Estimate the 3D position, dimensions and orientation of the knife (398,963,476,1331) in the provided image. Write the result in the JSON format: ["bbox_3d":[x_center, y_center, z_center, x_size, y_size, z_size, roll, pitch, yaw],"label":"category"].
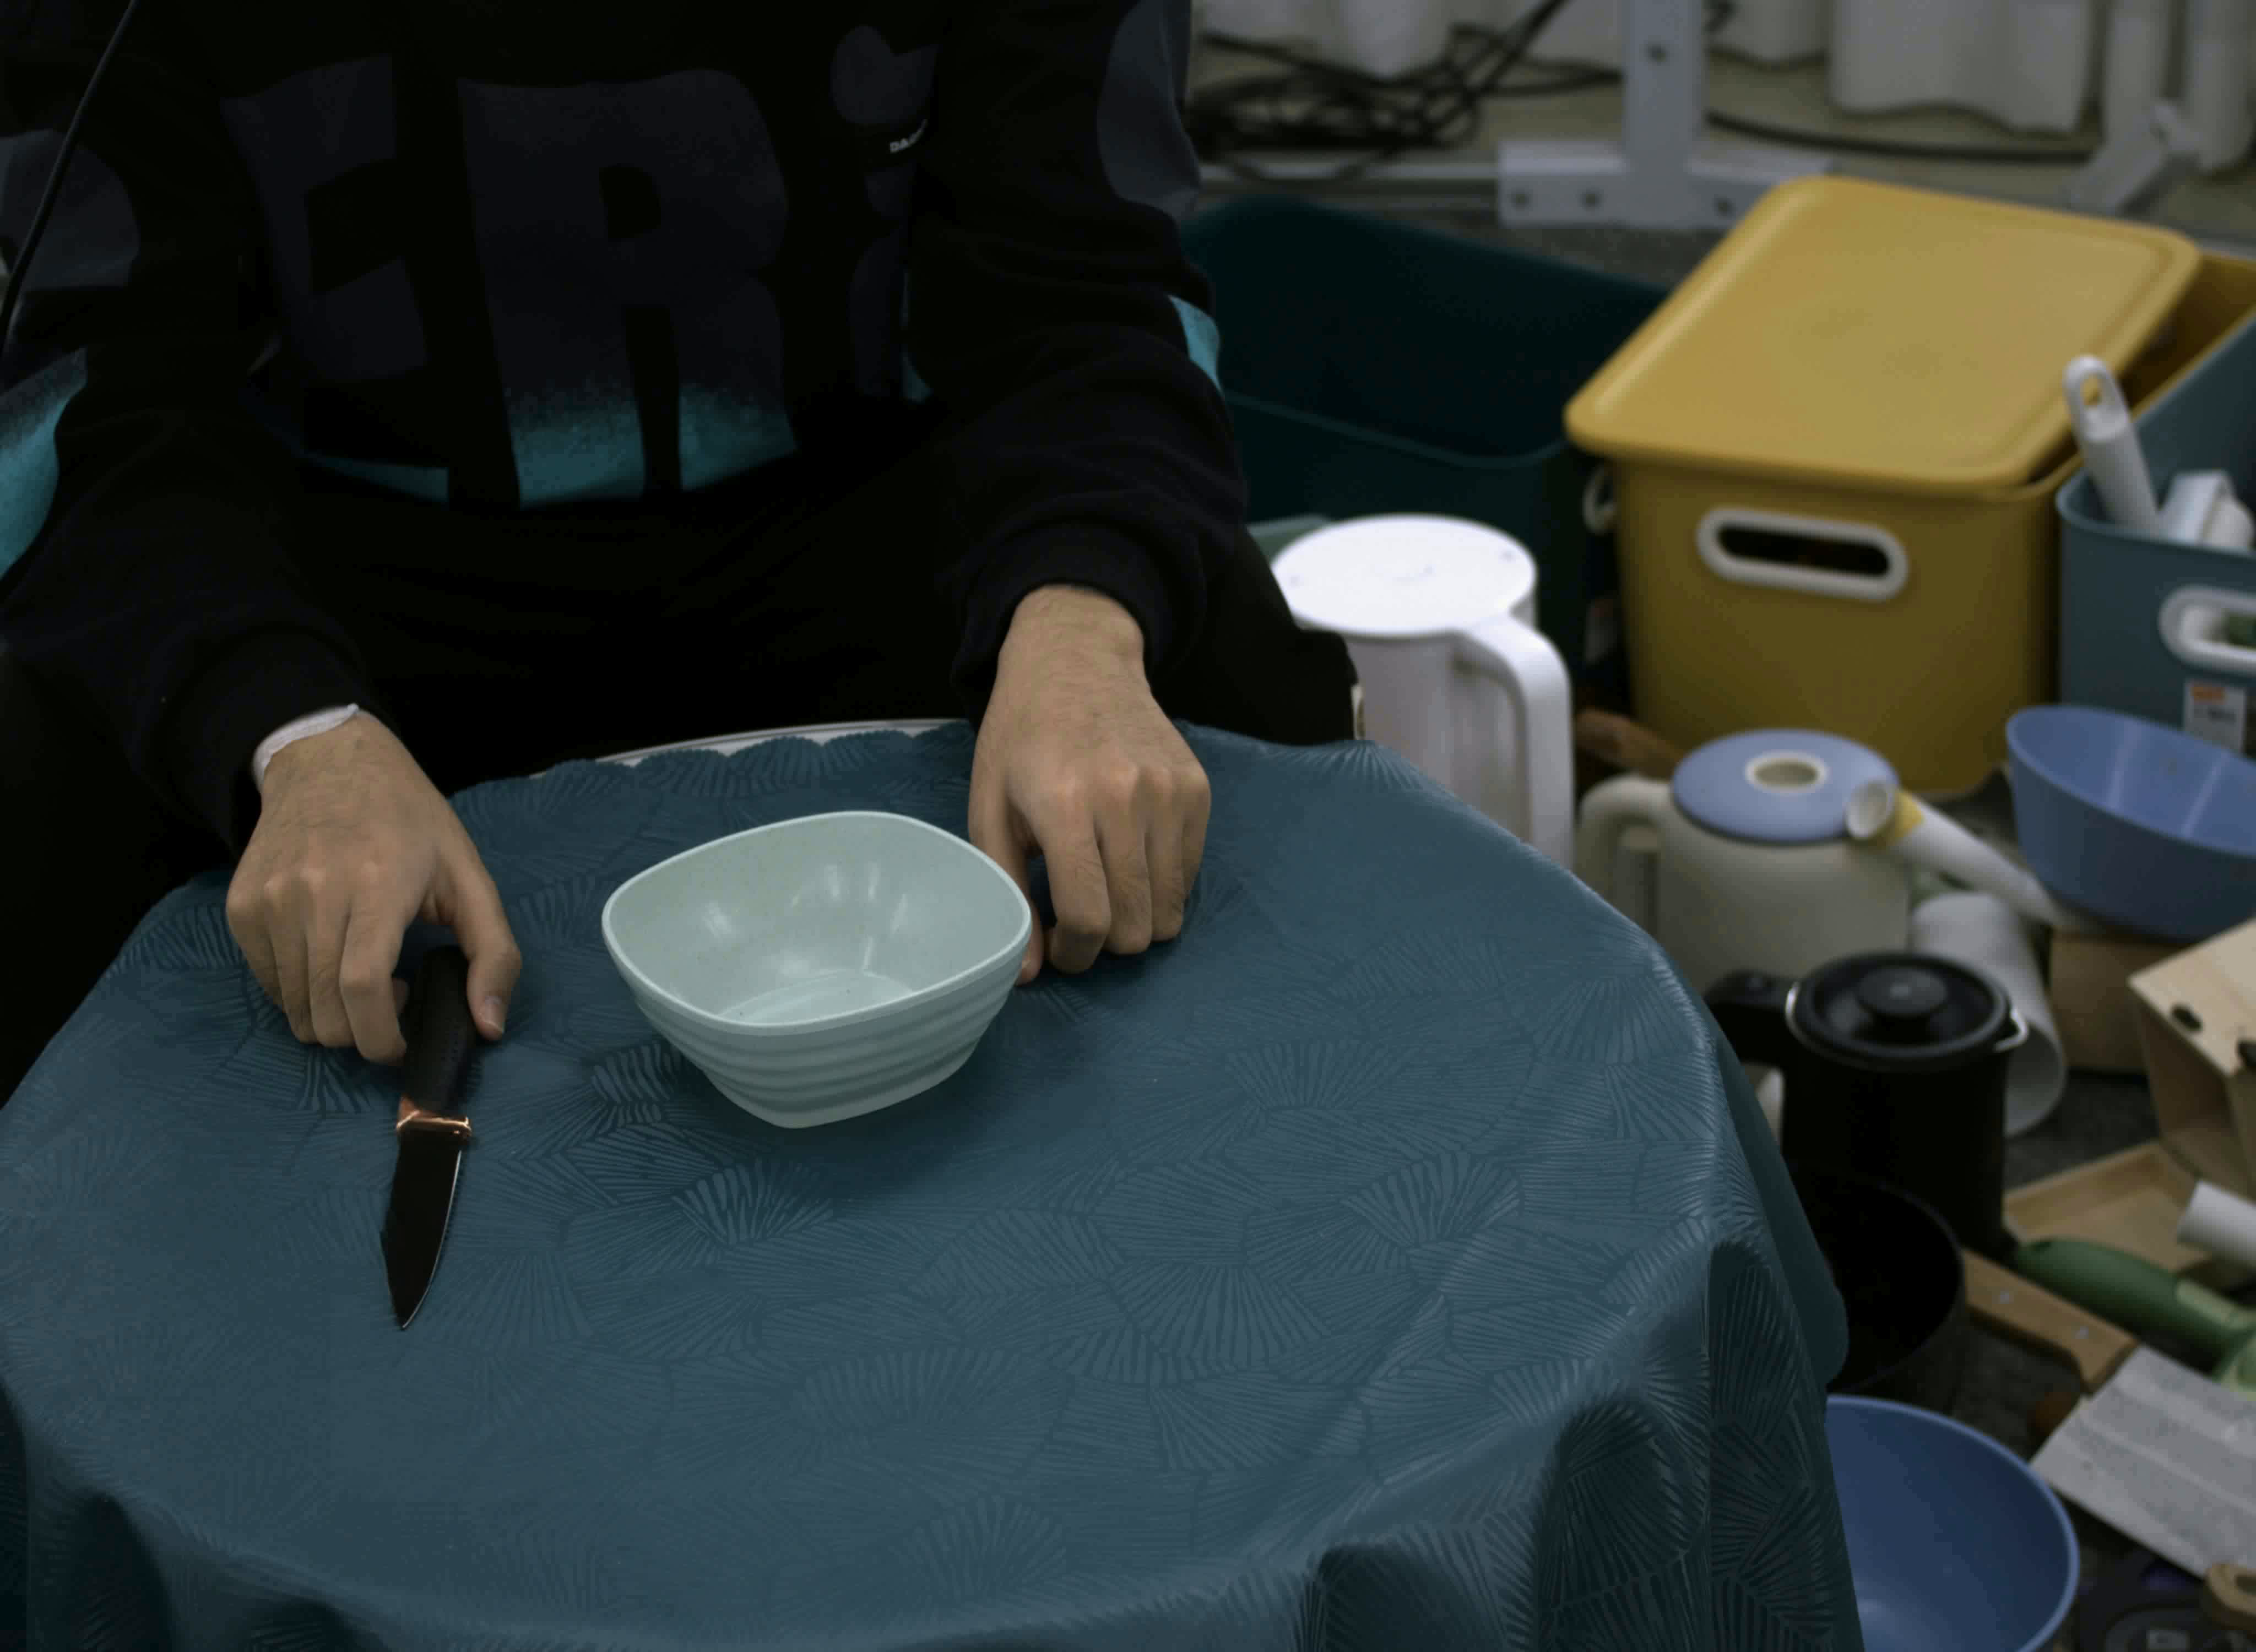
[{"bbox_3d":[-0.234,0.107,1.902,0.026,0.017,0.229,4,28,-7],"label":"knife"}]

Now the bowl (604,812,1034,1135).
[{"bbox_3d":[-0.104,0.057,1.939,0.150,0.058,0.154,-3,28,2],"label":"bowl"}]
